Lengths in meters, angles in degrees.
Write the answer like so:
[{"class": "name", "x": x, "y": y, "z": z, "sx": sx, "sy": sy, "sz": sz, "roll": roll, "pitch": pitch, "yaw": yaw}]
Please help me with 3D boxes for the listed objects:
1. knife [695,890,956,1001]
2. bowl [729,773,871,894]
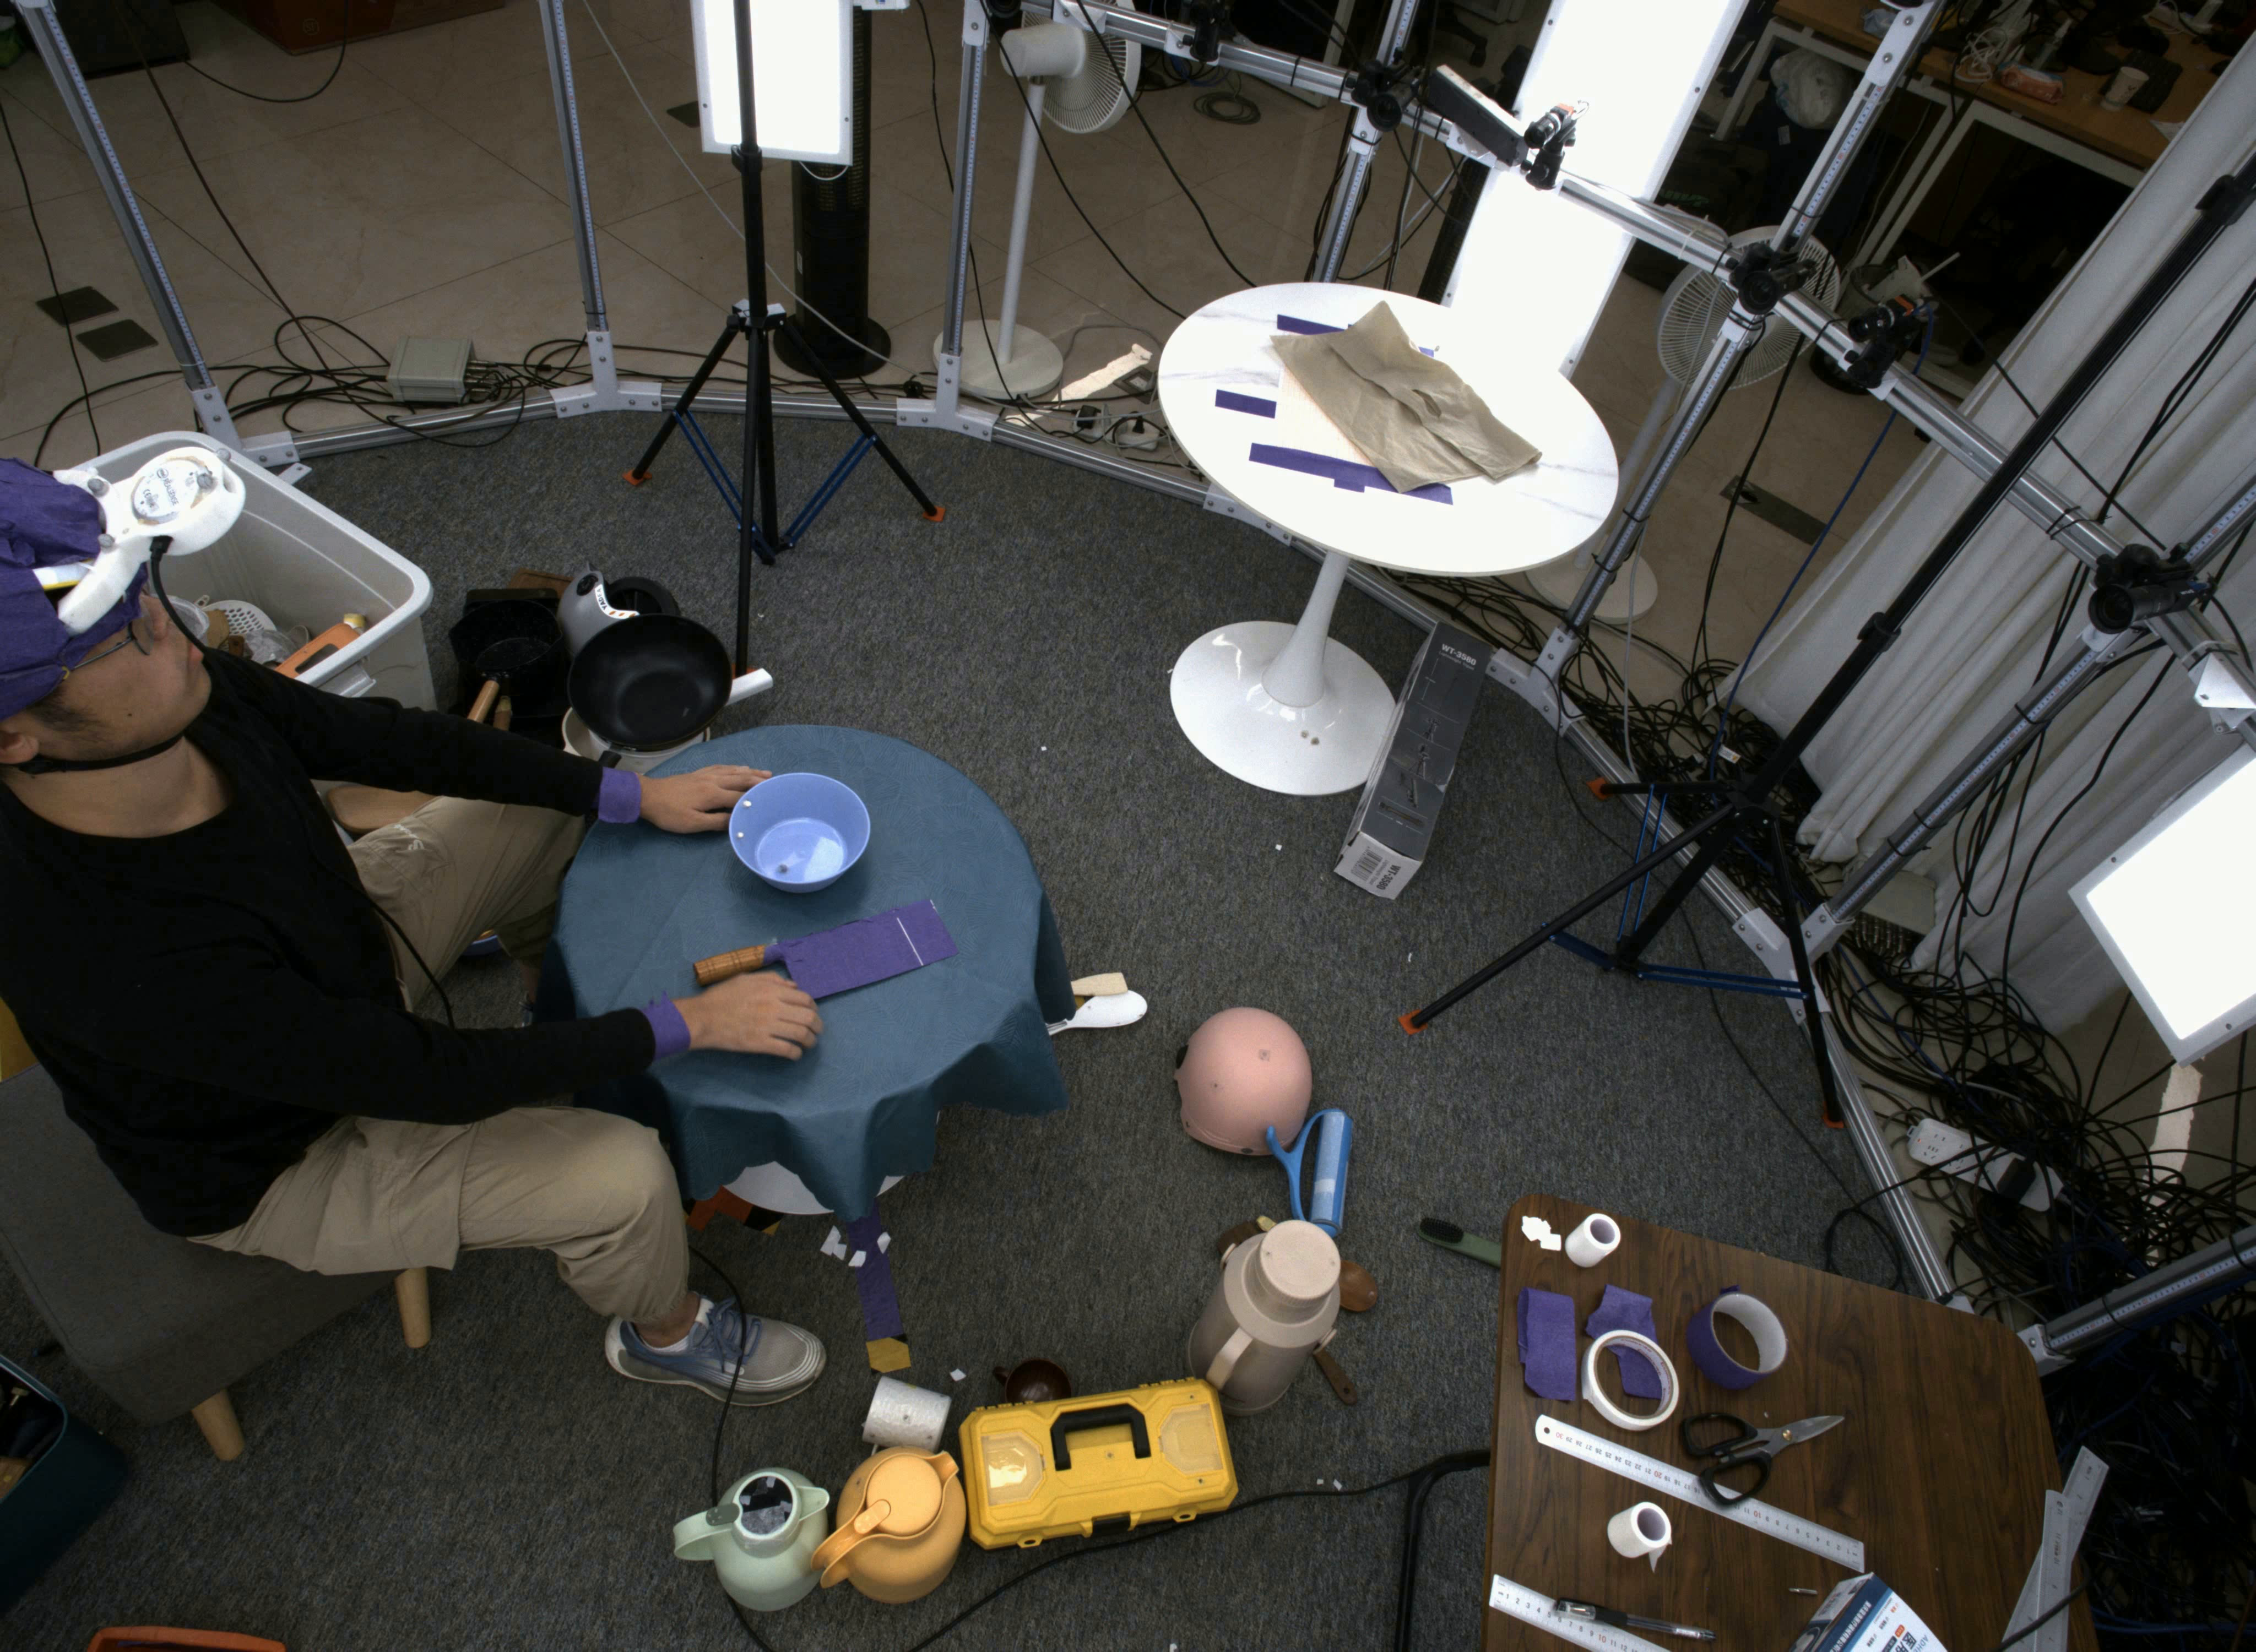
[{"class": "knife", "x": -0.366, "y": 0.160, "z": 1.599, "sx": 0.317, "sy": 0.033, "sz": 0.101, "roll": -19, "pitch": 60, "yaw": -27}, {"class": "bowl", "x": -0.418, "y": 0.019, "z": 1.662, "sx": 0.175, "sy": 0.072, "sz": 0.173, "roll": 7, "pitch": 52, "yaw": -8}]
